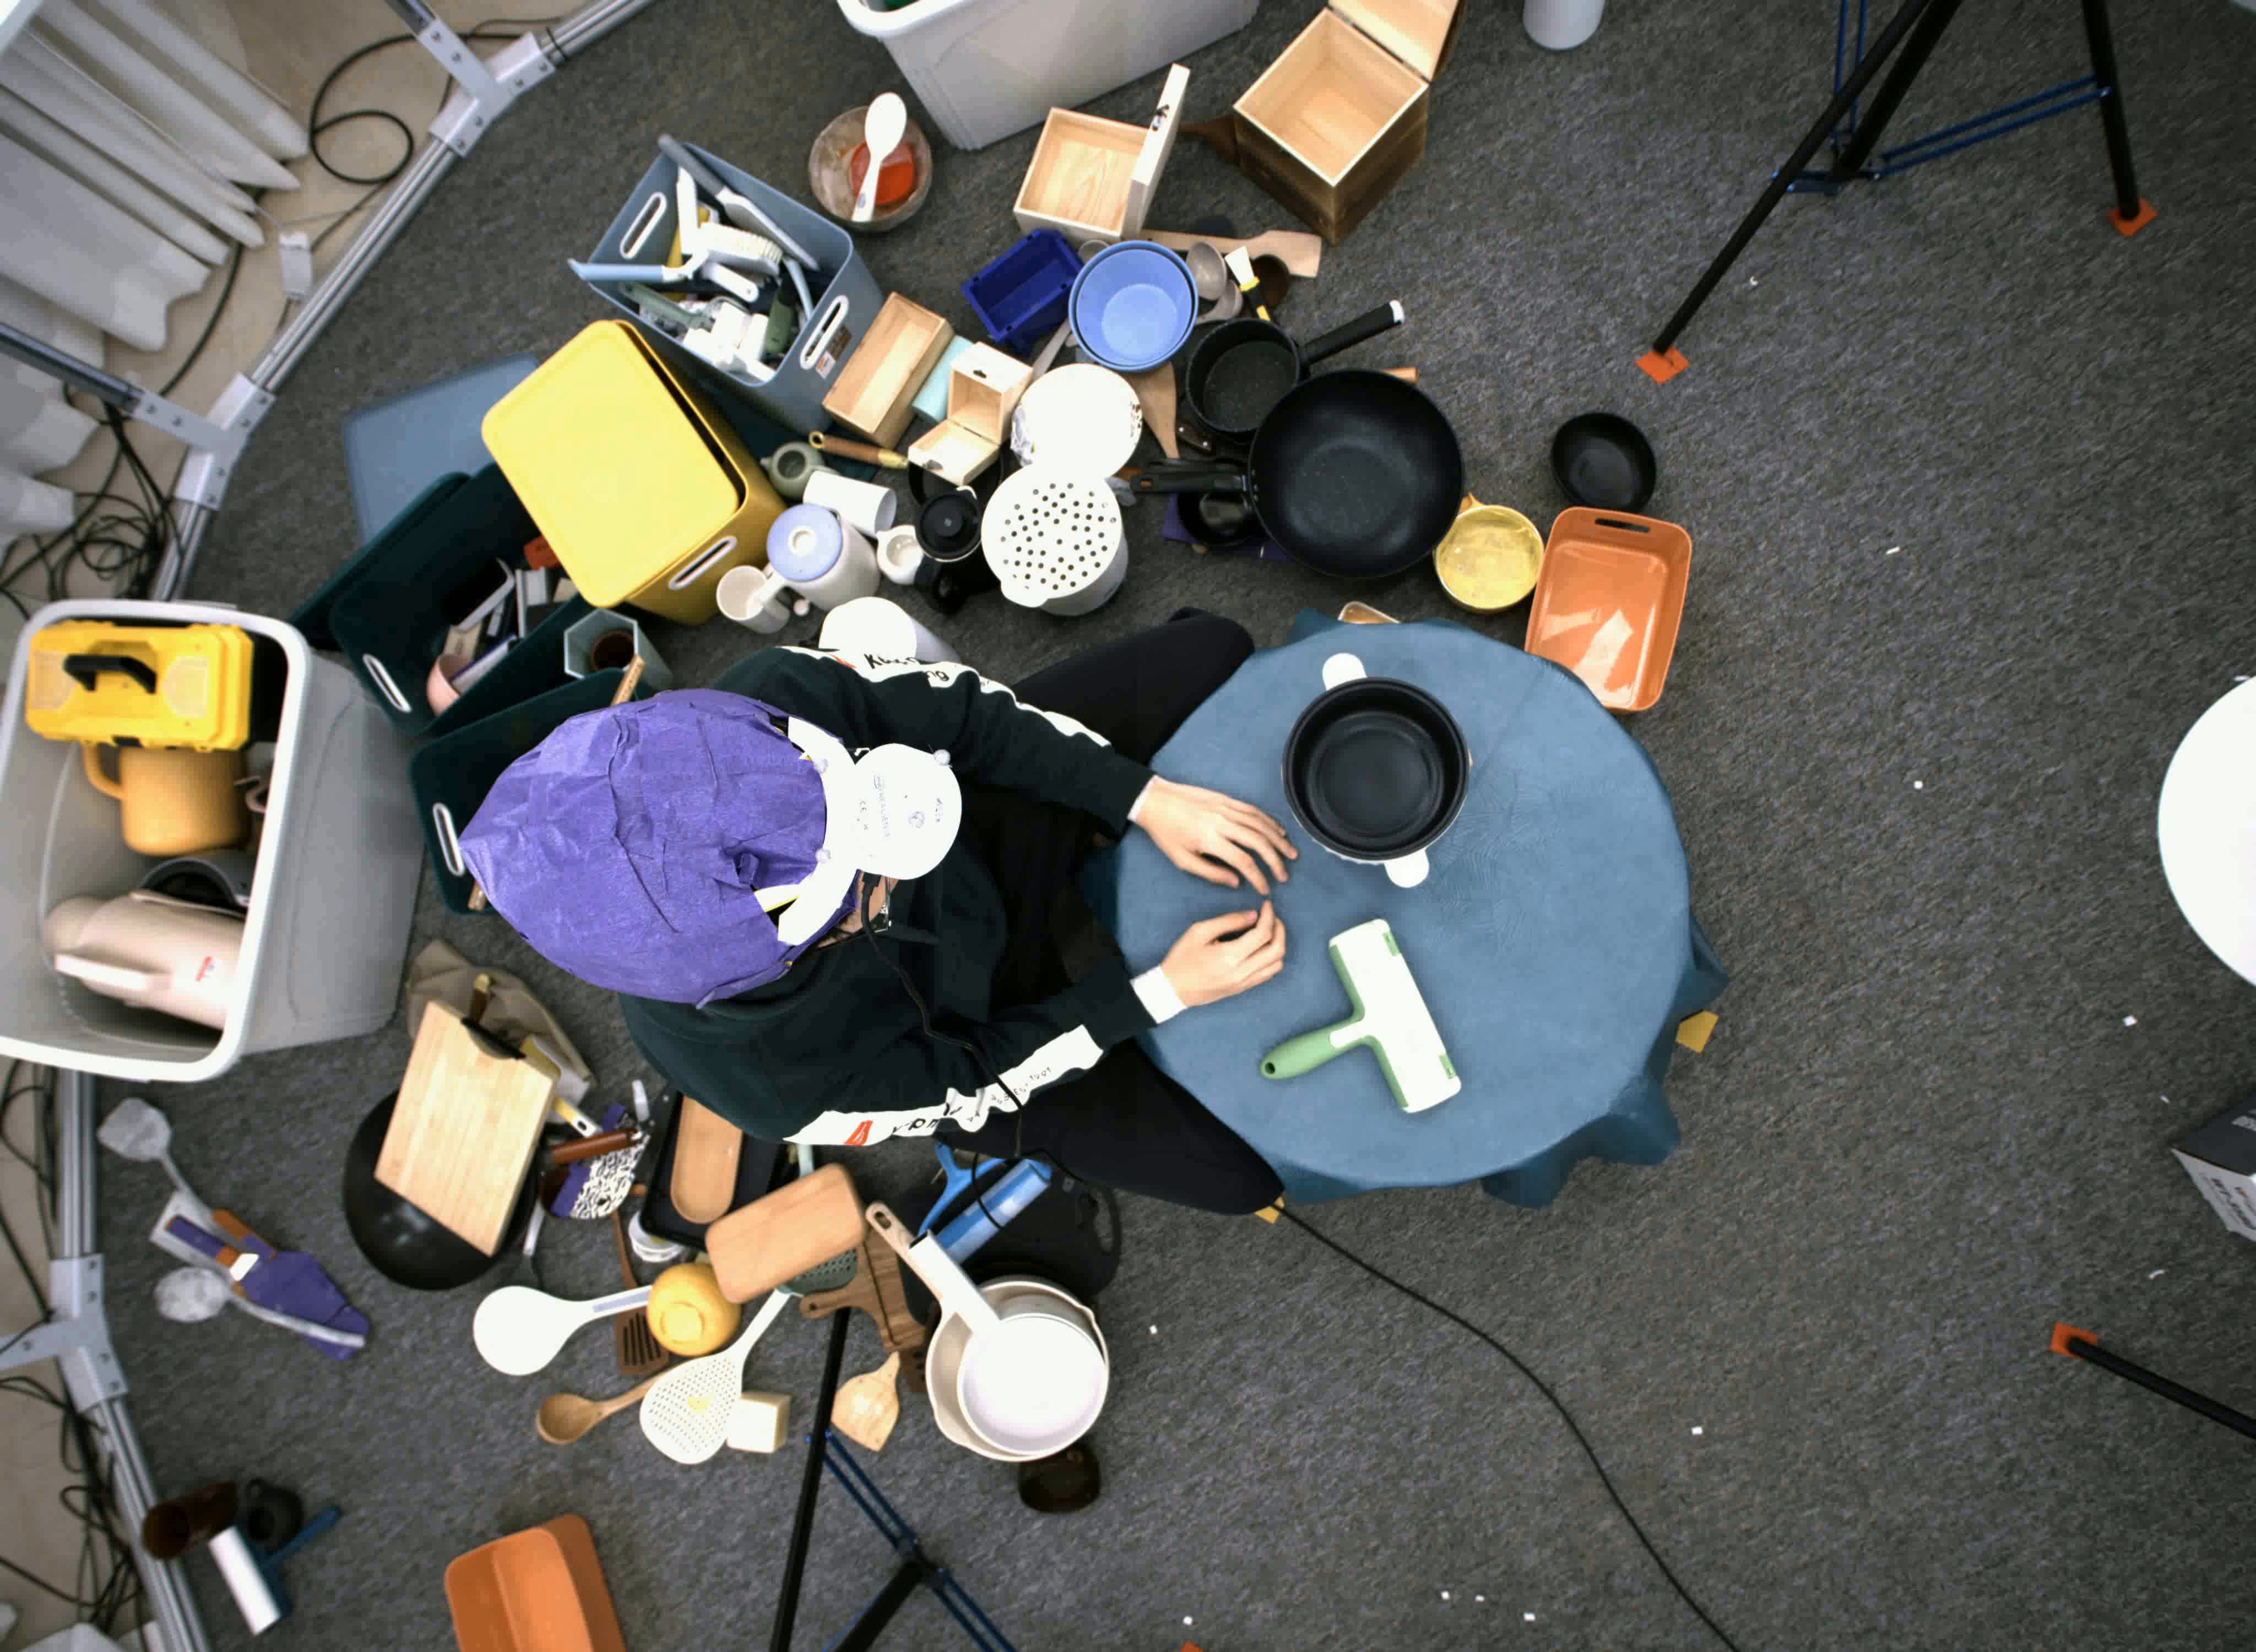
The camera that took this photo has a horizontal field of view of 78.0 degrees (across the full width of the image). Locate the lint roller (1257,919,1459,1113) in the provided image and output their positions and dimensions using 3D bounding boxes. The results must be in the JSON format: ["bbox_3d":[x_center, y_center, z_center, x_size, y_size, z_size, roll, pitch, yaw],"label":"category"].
[{"bbox_3d":[0.218,0.216,1.420,0.184,0.082,0.197,-24,83,3],"label":"lint roller"}]

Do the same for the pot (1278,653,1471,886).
[{"bbox_3d":[0.253,-0.054,1.395,0.192,0.142,0.239,-19,85,11],"label":"pot"}]
